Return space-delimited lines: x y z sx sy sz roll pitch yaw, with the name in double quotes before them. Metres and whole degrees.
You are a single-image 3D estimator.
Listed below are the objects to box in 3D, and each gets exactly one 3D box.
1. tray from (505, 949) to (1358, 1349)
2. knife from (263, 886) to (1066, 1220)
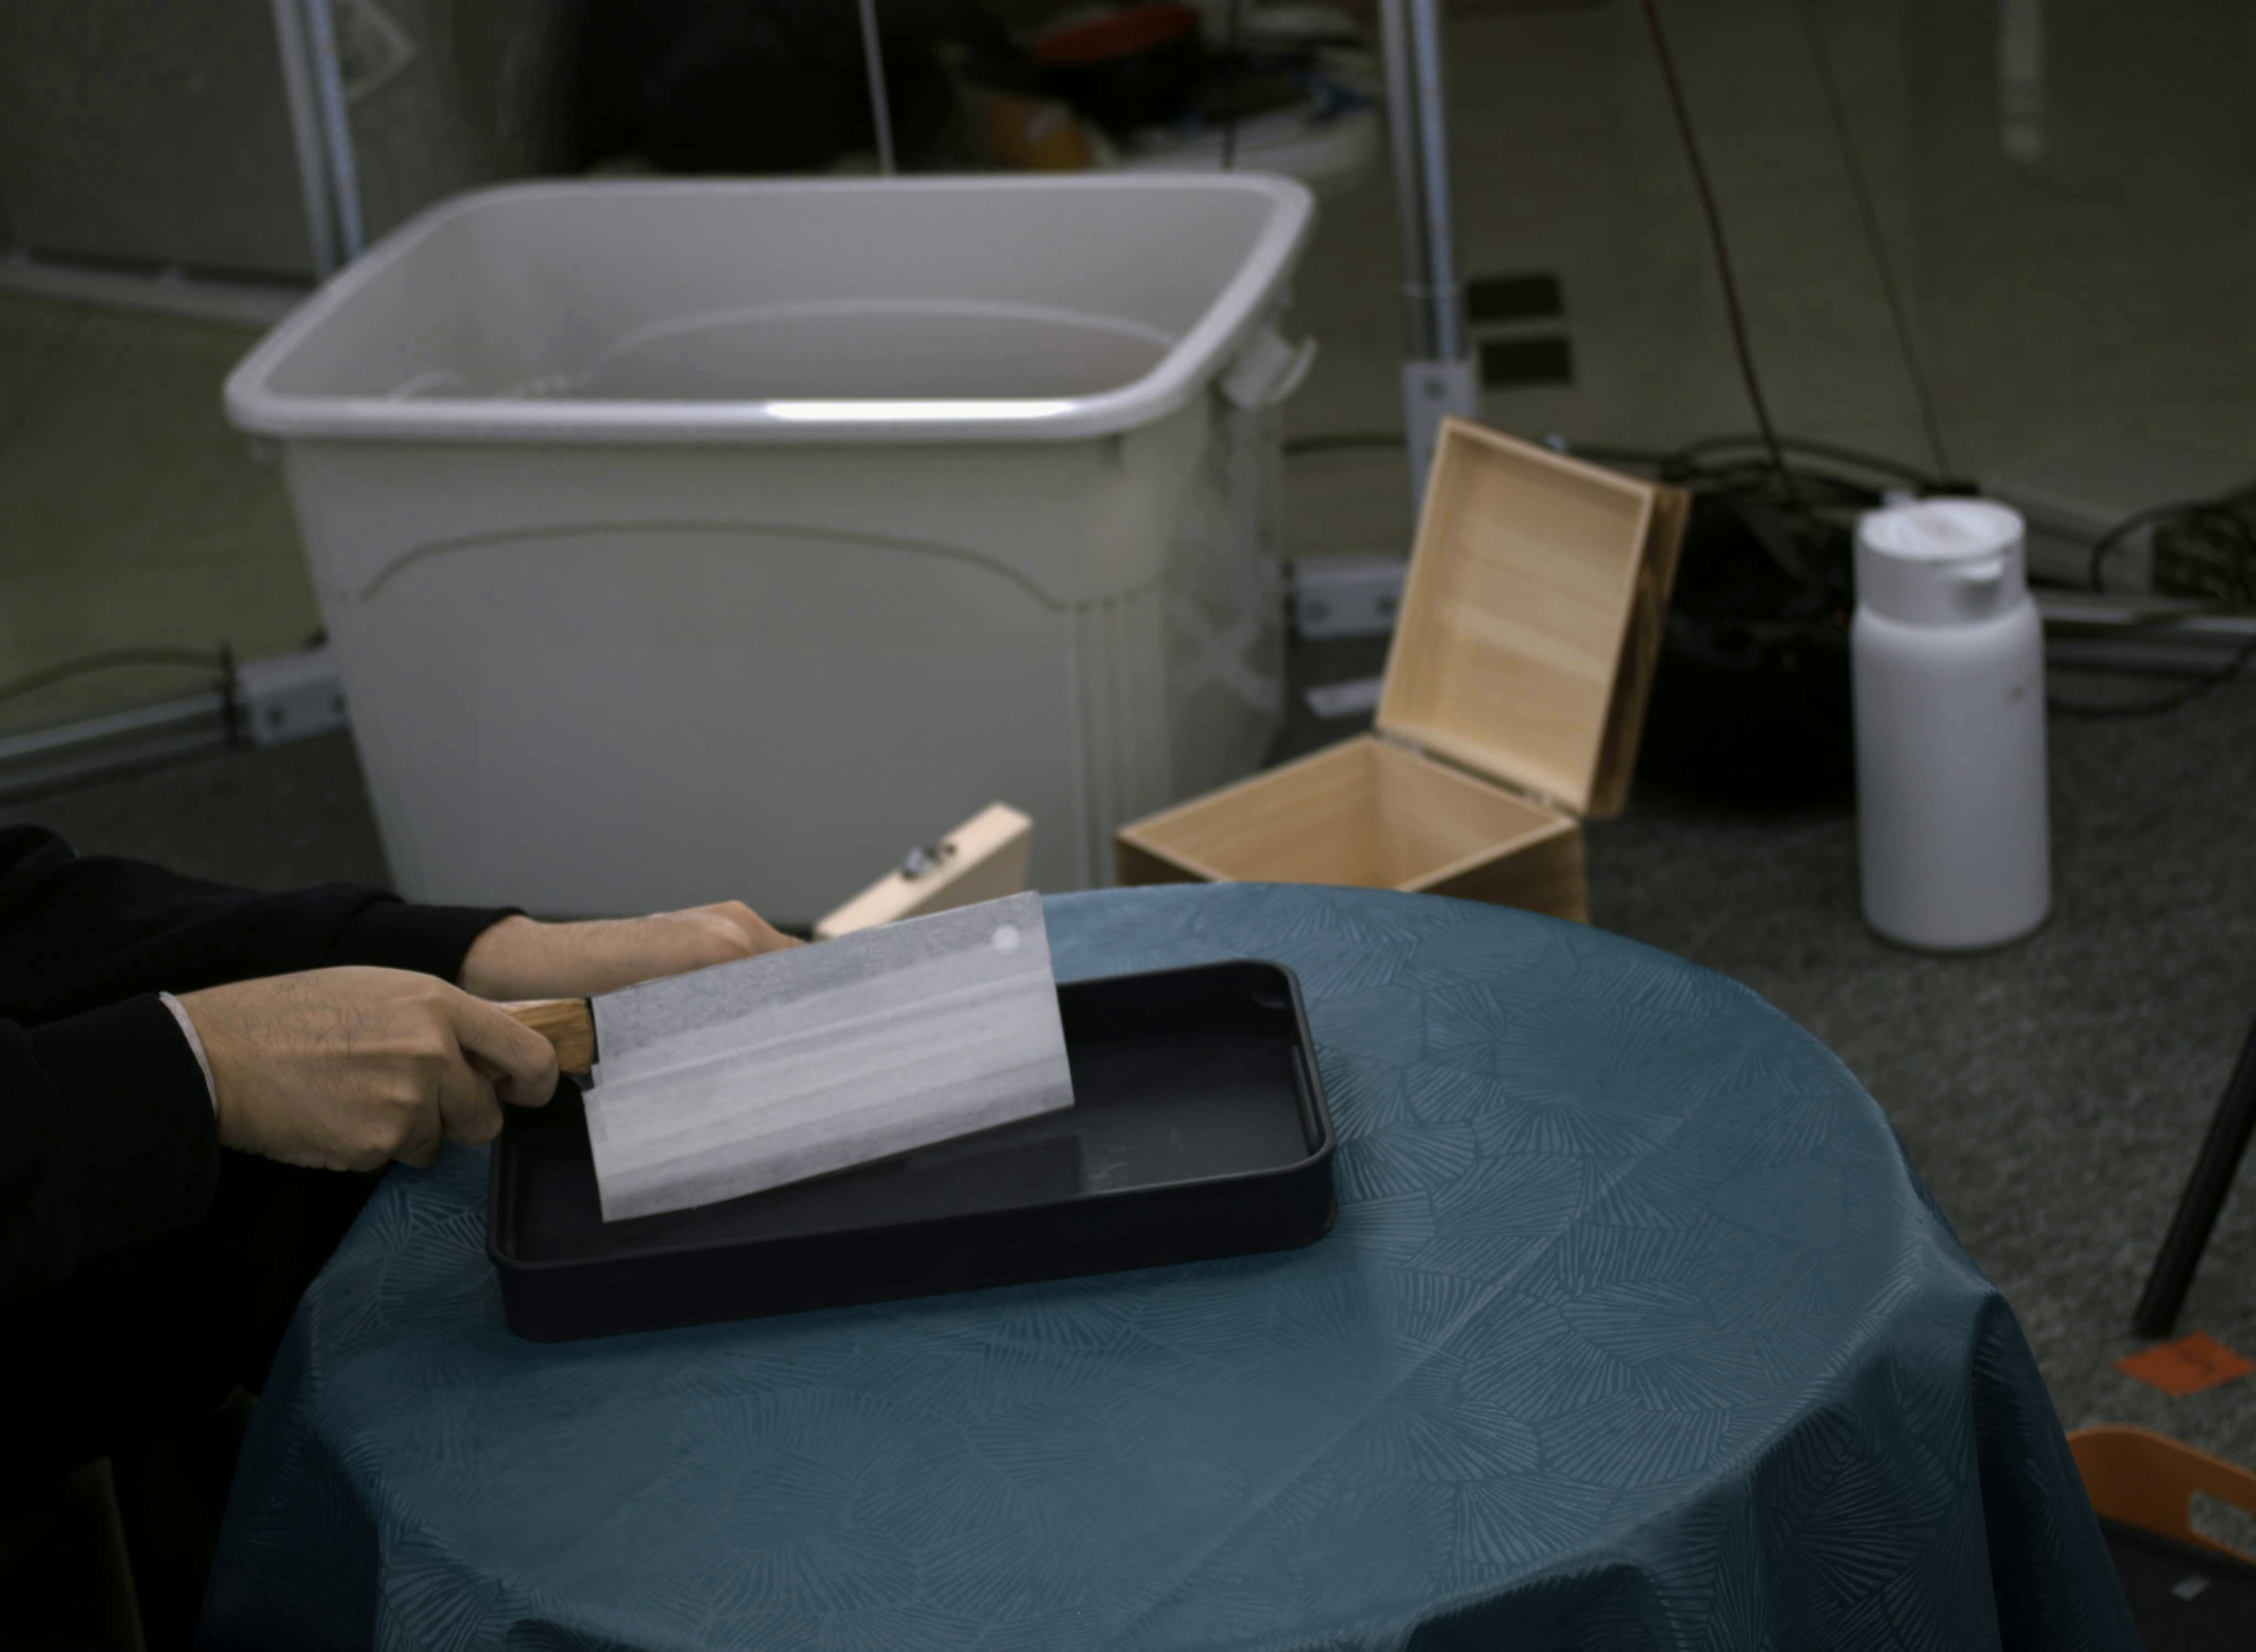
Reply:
"tray" -0.077 0.121 2.162 0.317 0.037 0.181 -8 25 -3
"knife" -0.170 0.098 2.138 0.305 0.094 0.021 -14 17 -14
